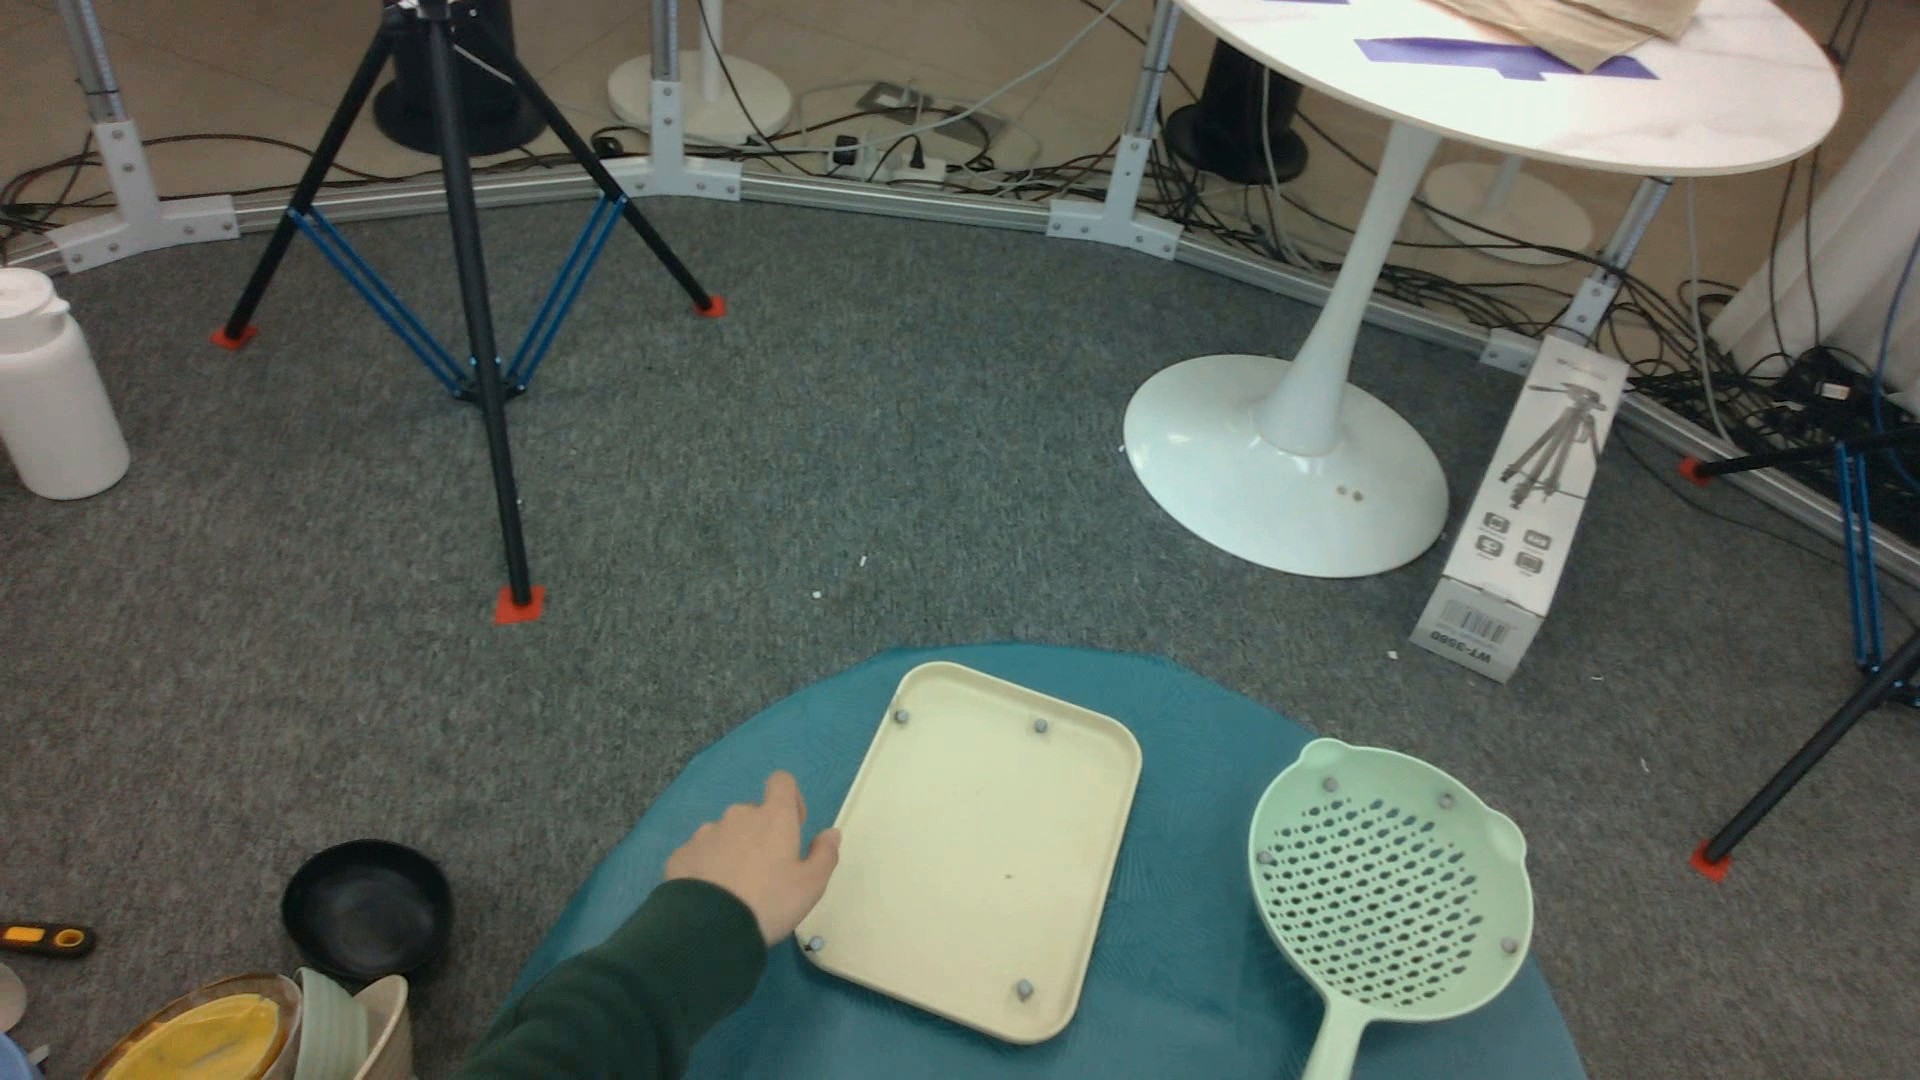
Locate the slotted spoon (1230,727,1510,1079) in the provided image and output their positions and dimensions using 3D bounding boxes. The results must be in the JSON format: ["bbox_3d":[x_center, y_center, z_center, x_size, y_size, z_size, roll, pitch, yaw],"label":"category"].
[{"bbox_3d":[0.201,0.267,0.776,0.169,0.075,0.361,24,46,12],"label":"slotted spoon"}]

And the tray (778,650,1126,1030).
[{"bbox_3d":[0.001,0.177,0.853,0.171,0.017,0.241,18,46,6],"label":"tray"}]
